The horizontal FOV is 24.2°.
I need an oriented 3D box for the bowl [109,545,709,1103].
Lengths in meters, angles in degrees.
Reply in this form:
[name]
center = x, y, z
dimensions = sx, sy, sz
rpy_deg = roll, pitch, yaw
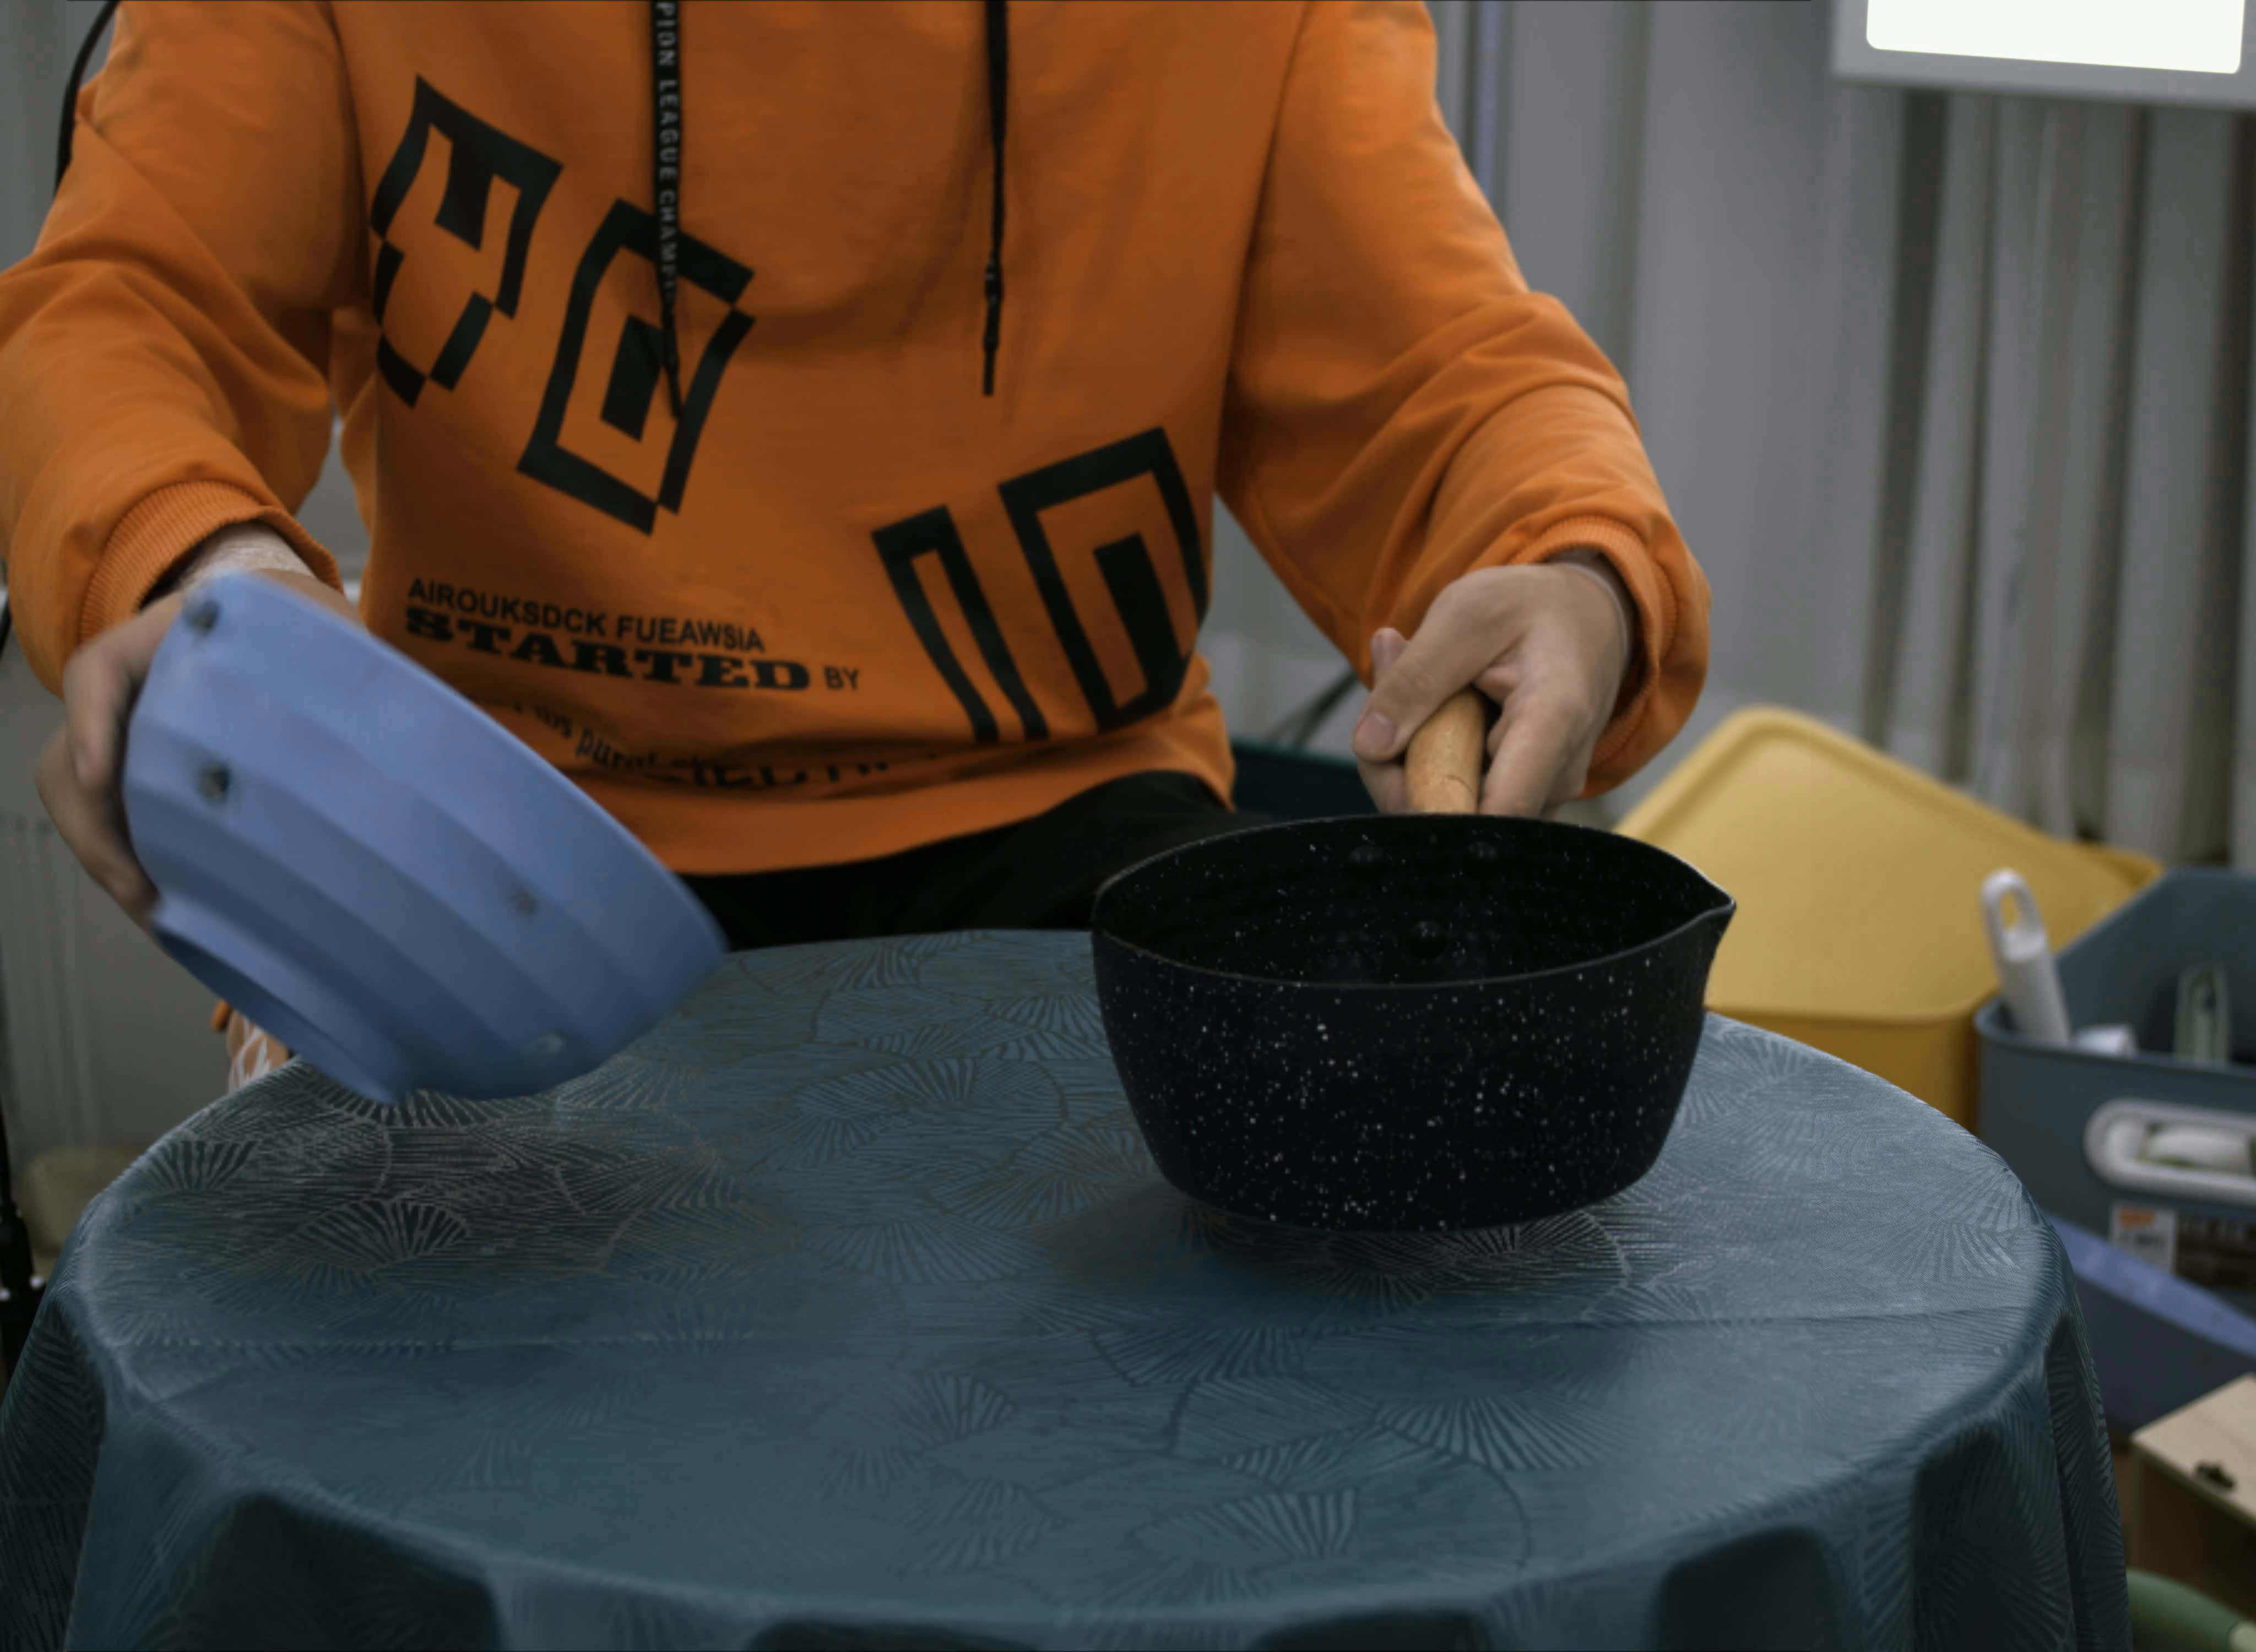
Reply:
[bowl]
center = -0.230, 0.017, 1.557
dimensions = 0.194, 0.199, 0.095
rpy_deg = 20, 66, 49

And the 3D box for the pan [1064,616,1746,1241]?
[pan]
center = 0.092, 0.027, 1.658
dimensions = 0.206, 0.109, 0.341
rpy_deg = -2, 17, 7
